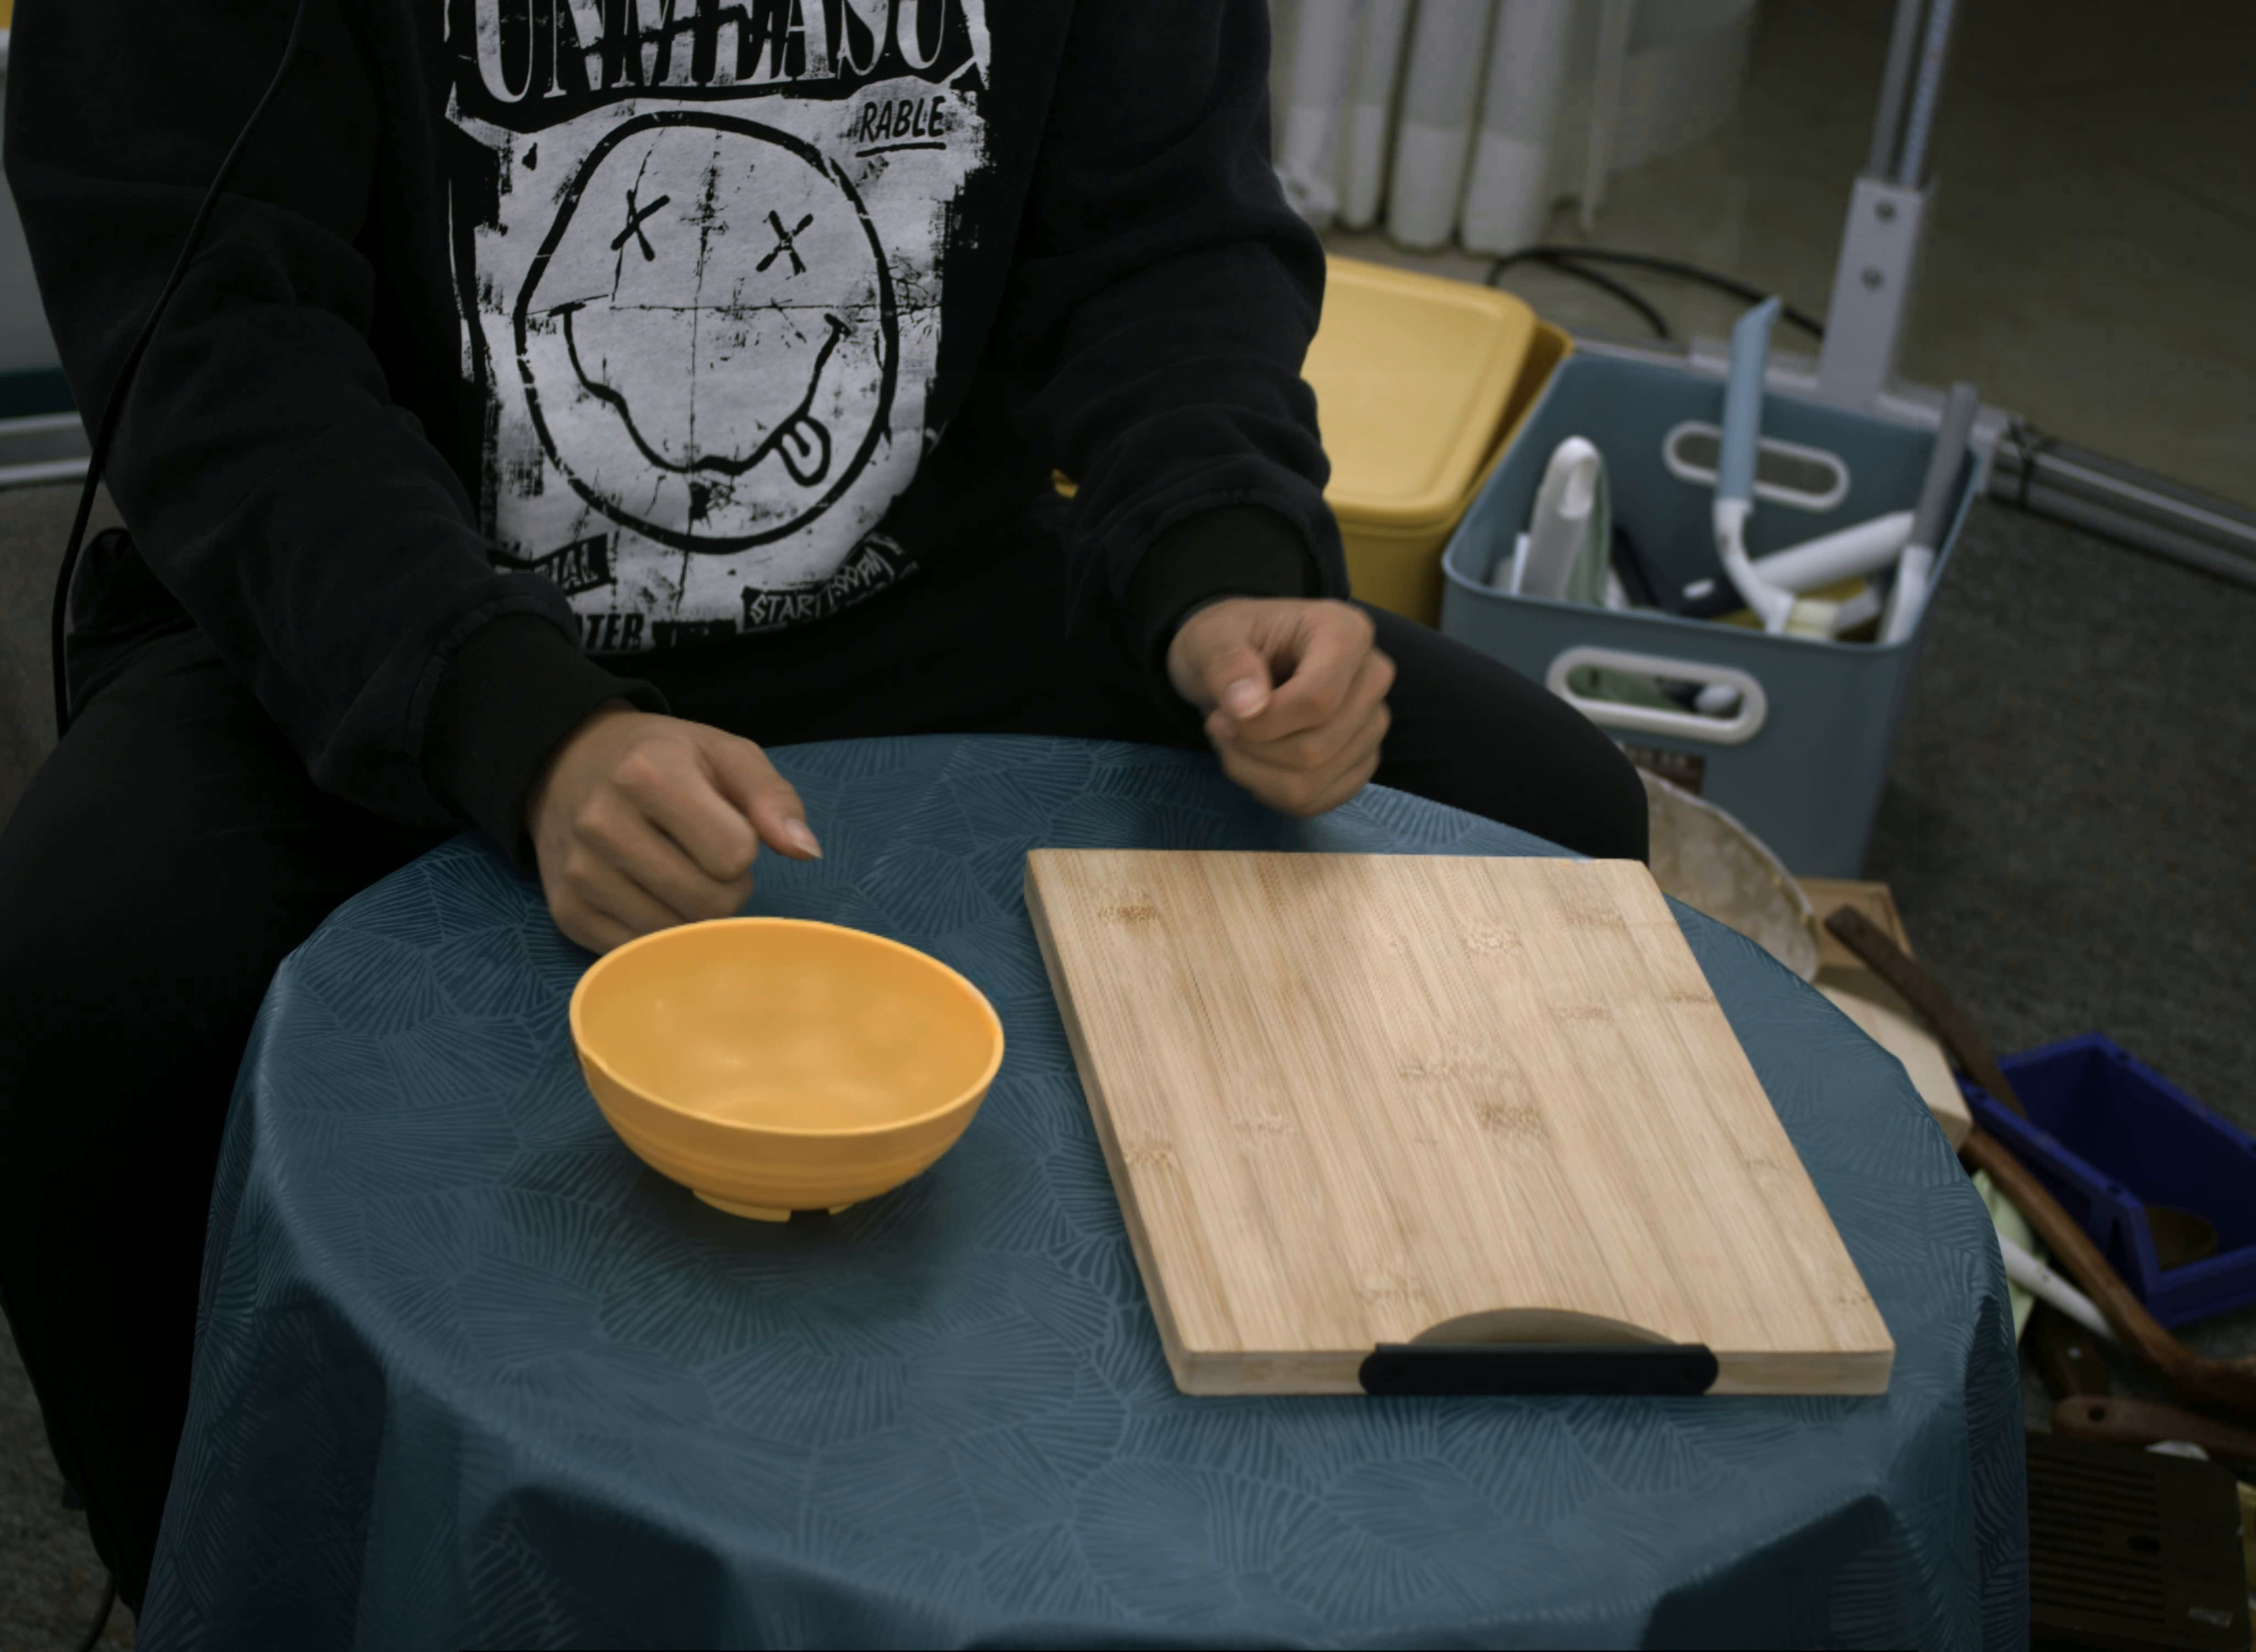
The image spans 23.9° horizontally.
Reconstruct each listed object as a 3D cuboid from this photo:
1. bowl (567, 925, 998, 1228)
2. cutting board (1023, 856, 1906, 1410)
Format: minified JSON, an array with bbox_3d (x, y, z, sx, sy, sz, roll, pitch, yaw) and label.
[{"bbox_3d":[-0.118,0.092,1.775,0.145,0.060,0.146,7,25,-4],"label":"bowl"},{"bbox_3d":[0.106,0.101,1.851,0.249,0.023,0.351,0,27,-11],"label":"cutting board"}]
